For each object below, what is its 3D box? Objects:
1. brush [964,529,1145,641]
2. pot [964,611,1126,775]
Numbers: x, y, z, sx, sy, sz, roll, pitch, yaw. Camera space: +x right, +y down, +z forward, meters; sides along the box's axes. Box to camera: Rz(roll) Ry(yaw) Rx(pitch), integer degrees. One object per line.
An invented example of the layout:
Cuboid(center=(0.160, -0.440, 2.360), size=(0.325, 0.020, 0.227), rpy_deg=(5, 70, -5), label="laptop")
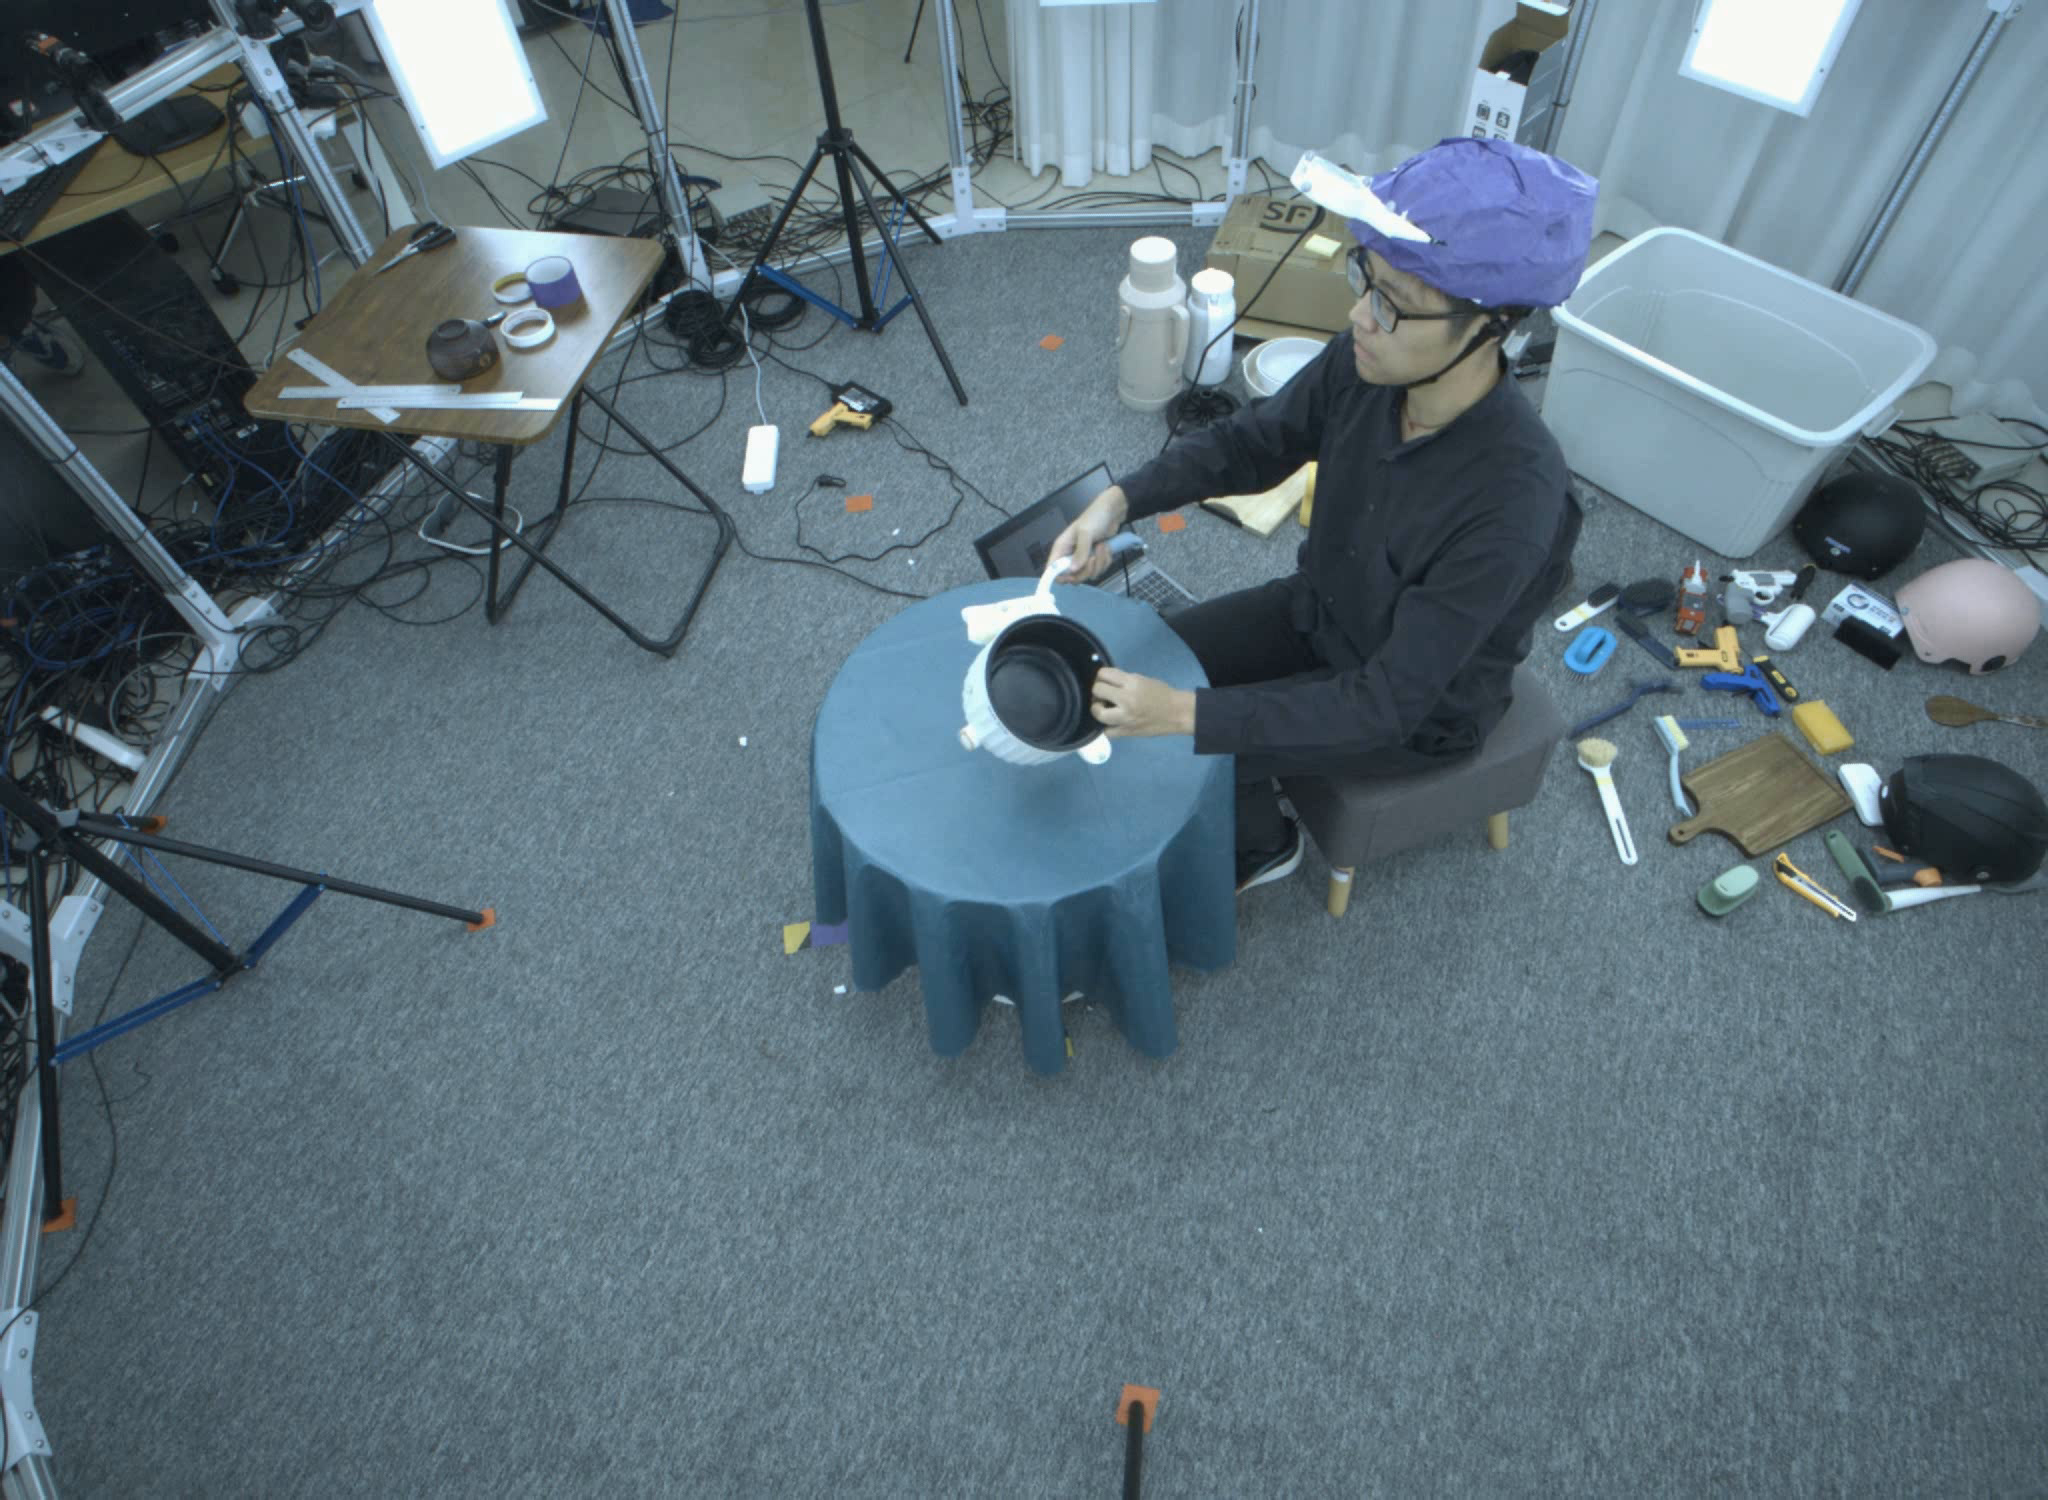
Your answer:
Cuboid(center=(0.062, -0.215, 1.676), size=(0.329, 0.085, 0.081), rpy_deg=(-28, 34, -32), label="brush")
Cuboid(center=(0.017, -0.055, 1.595), size=(0.192, 0.141, 0.241), rpy_deg=(-37, 93, -28), label="pot")
